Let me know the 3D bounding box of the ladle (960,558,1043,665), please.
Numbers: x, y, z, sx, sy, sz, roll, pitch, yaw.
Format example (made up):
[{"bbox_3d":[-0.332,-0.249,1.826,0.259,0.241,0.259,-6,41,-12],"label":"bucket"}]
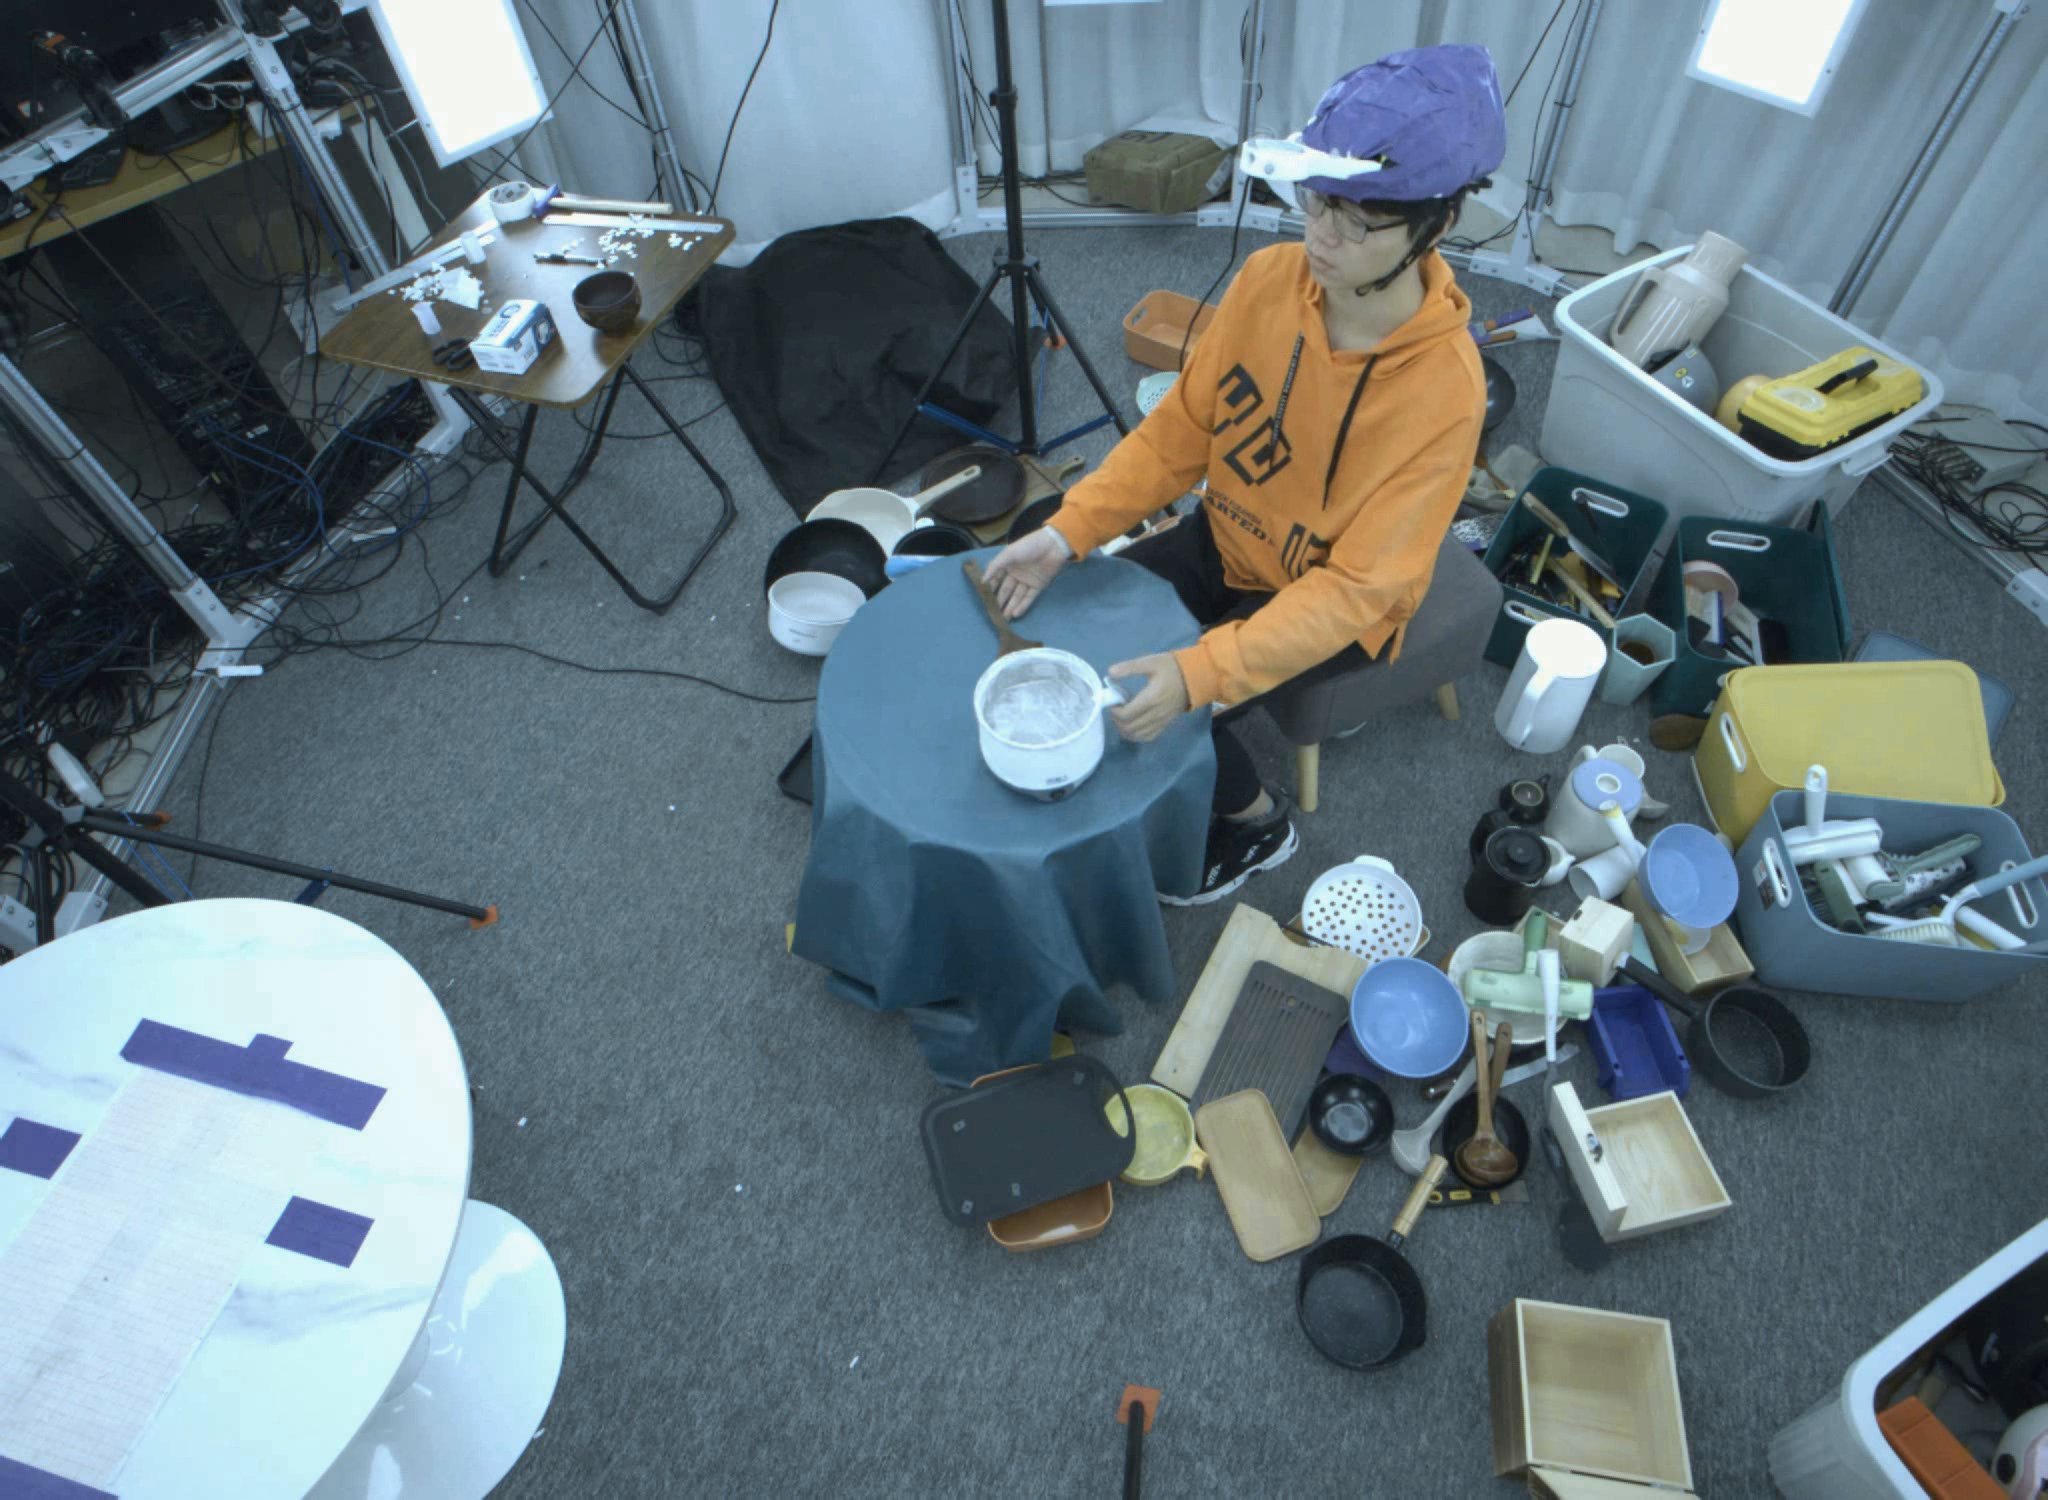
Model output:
[{"bbox_3d":[-0.047,-0.228,1.907,0.076,0.072,0.269,-18,57,-11],"label":"ladle"}]

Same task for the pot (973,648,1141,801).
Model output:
[{"bbox_3d":[0.050,-0.042,1.730,0.235,0.138,0.176,-15,56,-7],"label":"pot"}]
